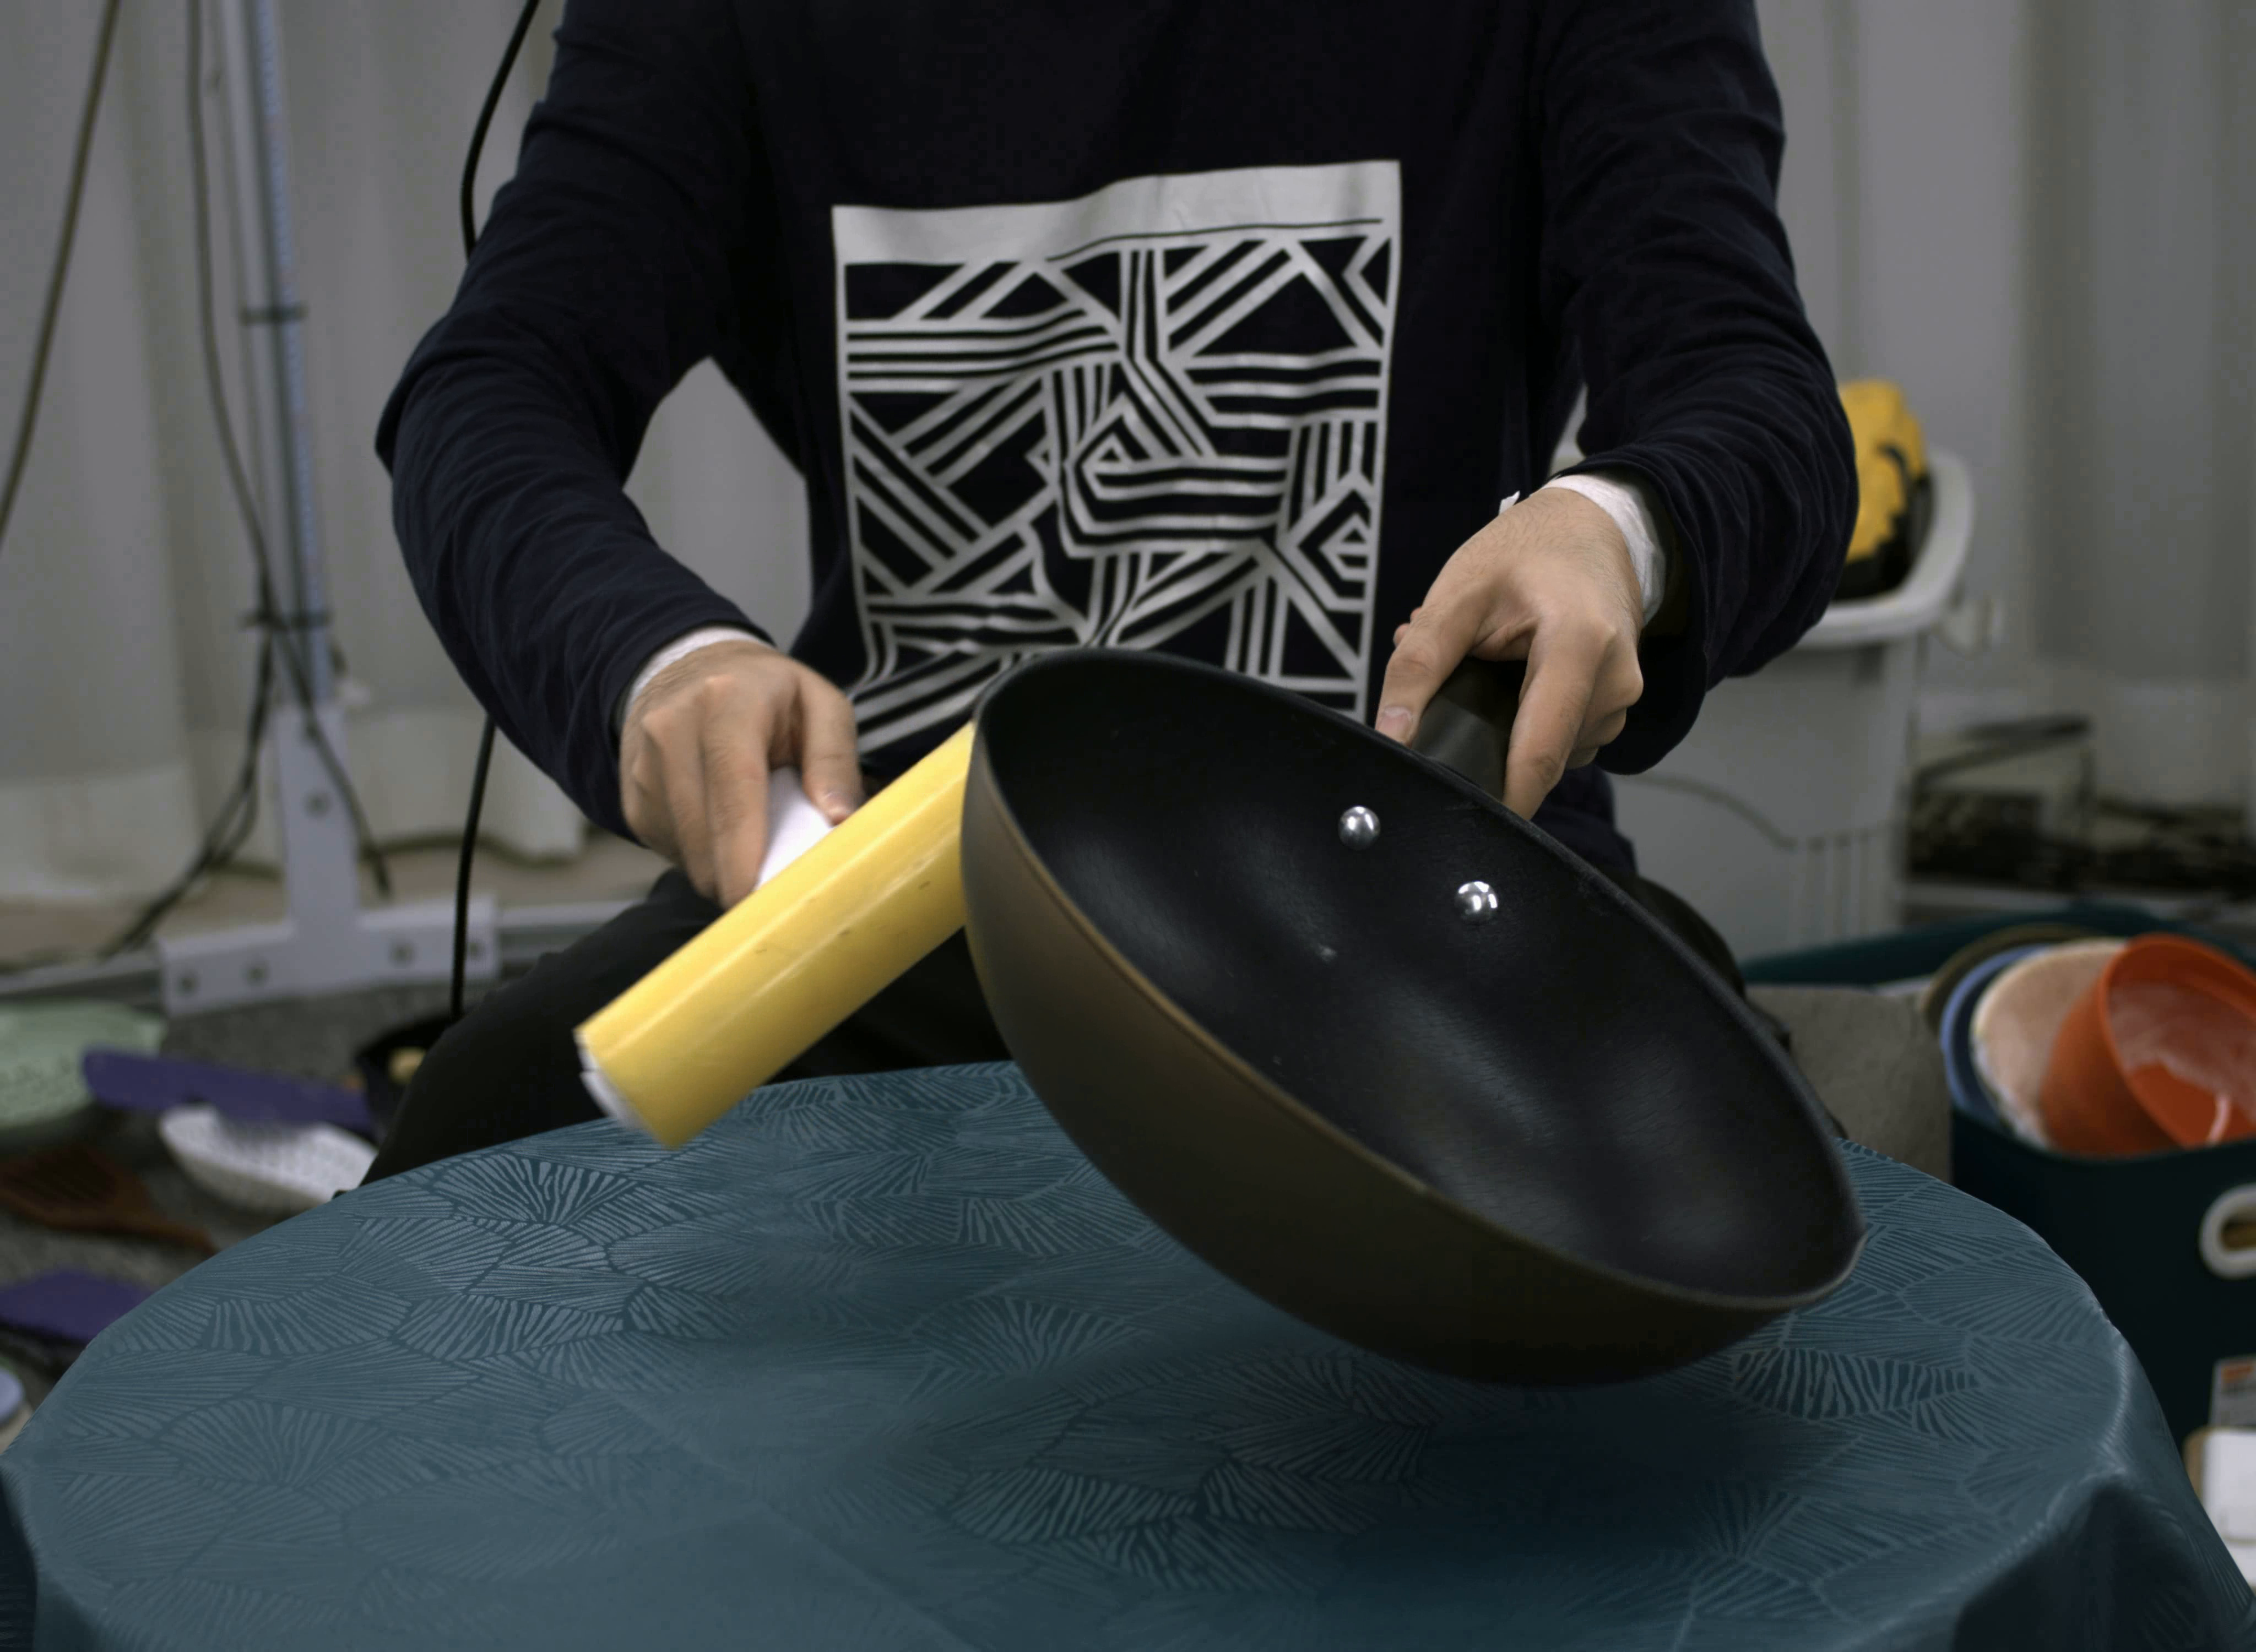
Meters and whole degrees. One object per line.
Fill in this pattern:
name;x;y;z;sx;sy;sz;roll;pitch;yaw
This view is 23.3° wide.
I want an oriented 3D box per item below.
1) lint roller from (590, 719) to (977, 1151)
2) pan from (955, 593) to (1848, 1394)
lint roller;-0.108;0.004;1.703;0.174;0.051;0.194;-39;30;-2
pan;0.071;0.032;1.586;0.287;0.086;0.467;33;21;-5
